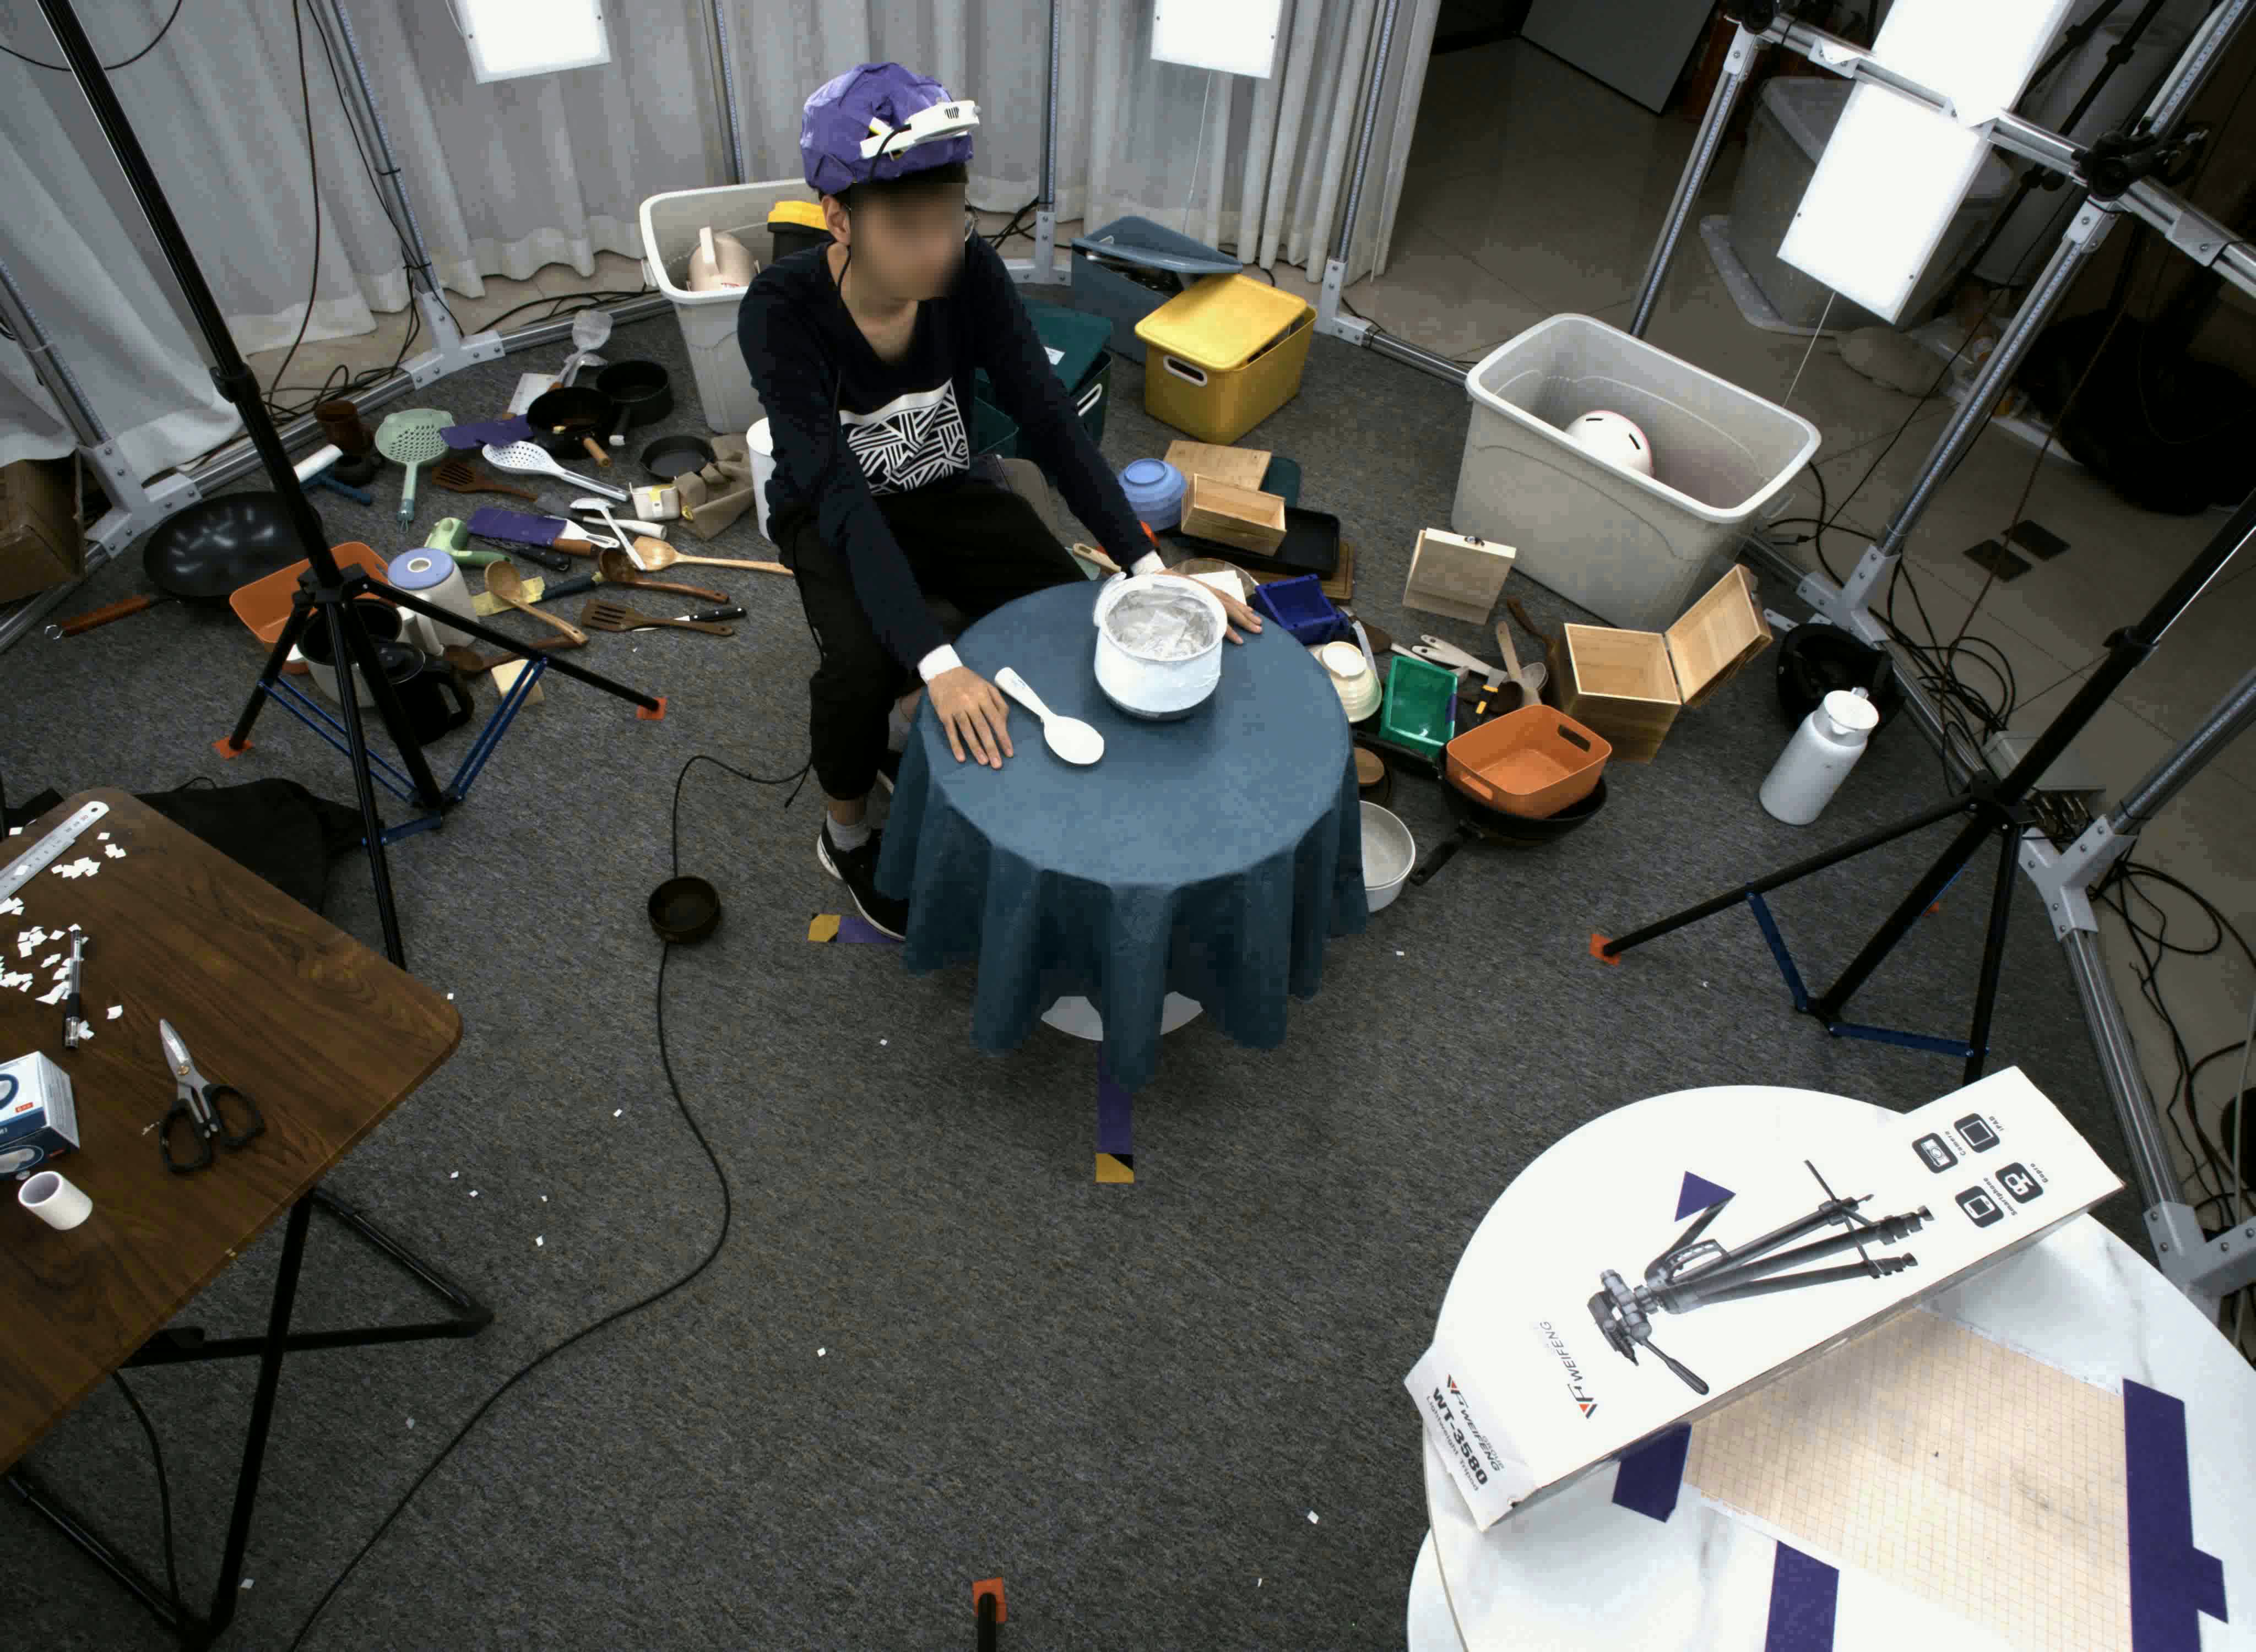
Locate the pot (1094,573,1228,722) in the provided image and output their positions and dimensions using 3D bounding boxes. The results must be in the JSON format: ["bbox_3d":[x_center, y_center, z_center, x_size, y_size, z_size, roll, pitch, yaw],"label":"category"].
[{"bbox_3d":[0.028,-0.261,1.813,0.179,0.133,0.238,-25,54,-26],"label":"pot"}]

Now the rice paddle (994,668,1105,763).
[{"bbox_3d":[-0.110,-0.152,1.774,0.069,0.029,0.209,-33,58,-26],"label":"rice paddle"}]
